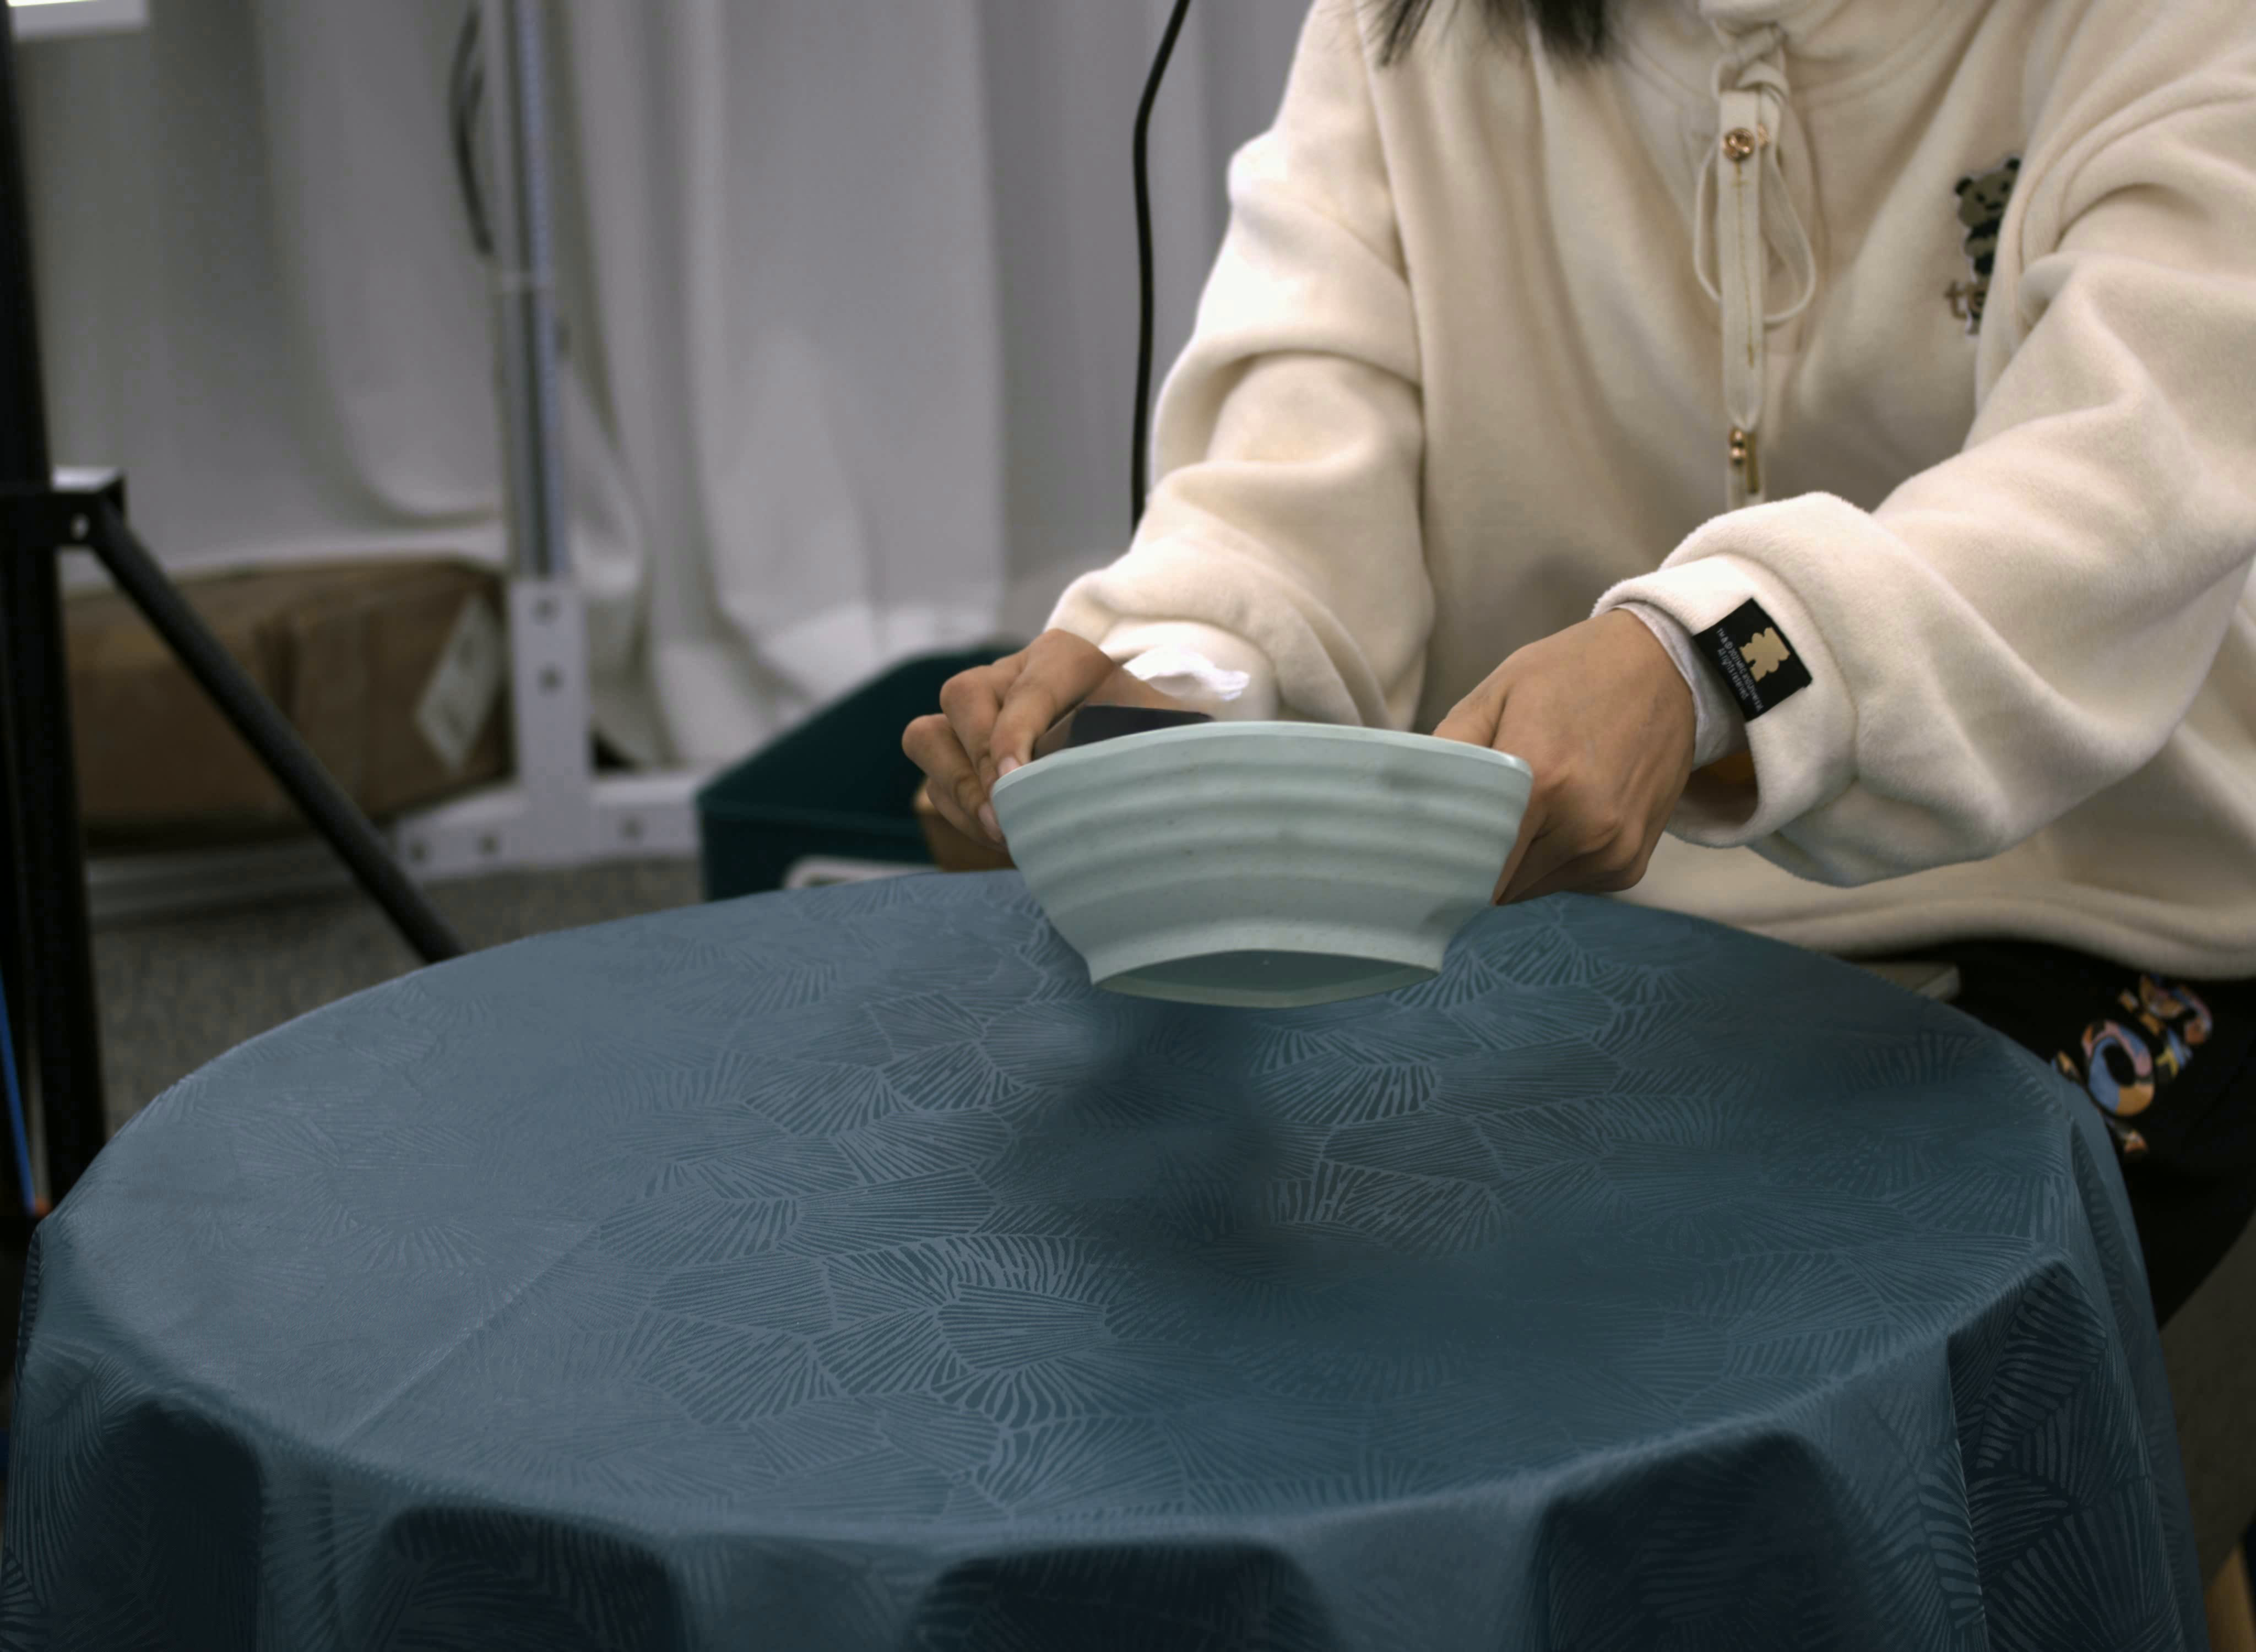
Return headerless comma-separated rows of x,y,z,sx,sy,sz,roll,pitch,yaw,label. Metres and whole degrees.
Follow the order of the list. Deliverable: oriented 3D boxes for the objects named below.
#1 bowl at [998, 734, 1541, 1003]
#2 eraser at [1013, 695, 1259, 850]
0.039,0.015,1.467,0.150,0.059,0.151,1,-9,-1,bowl
0.001,-0.013,1.553,0.053,0.030,0.126,5,-9,-9,eraser
